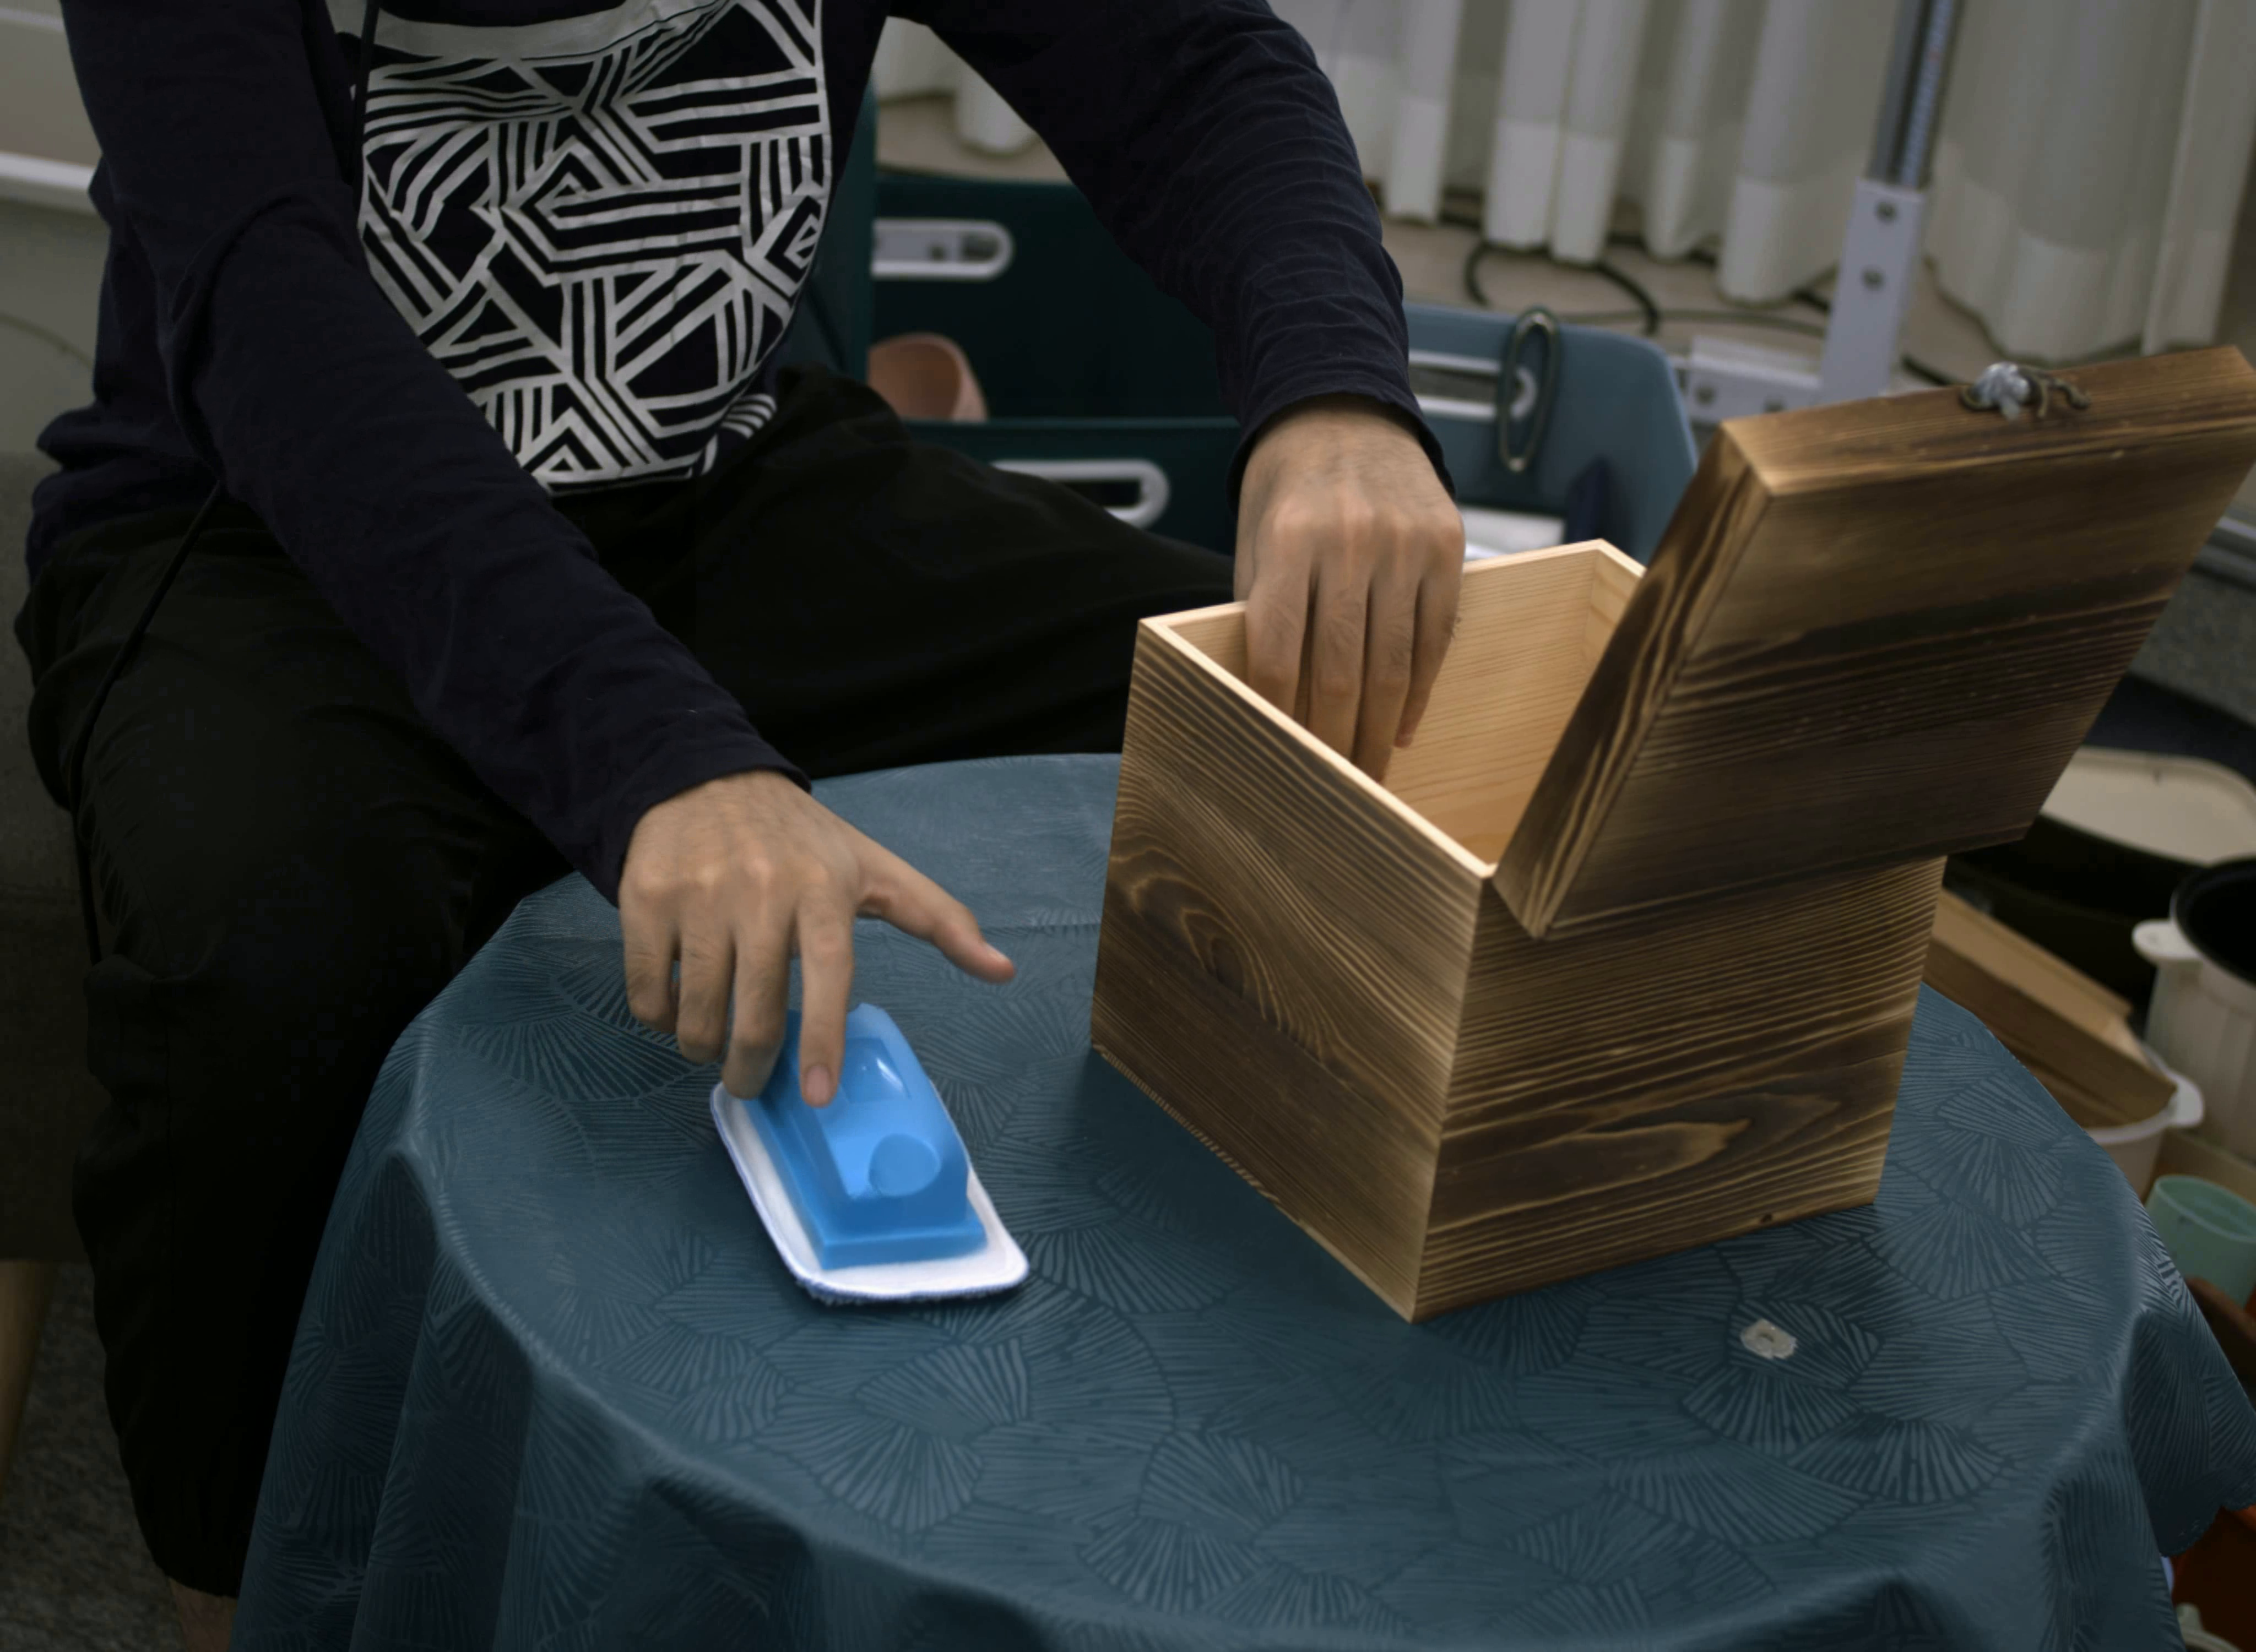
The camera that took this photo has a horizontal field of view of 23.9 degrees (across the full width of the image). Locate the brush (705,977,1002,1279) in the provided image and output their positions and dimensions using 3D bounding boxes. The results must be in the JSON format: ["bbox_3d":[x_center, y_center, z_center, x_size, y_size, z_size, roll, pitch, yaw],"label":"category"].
[{"bbox_3d":[-0.089,0.096,1.775,0.083,0.056,0.145,1,29,-17],"label":"brush"}]

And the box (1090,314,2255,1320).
[{"bbox_3d":[0.171,-0.034,1.756,0.207,0.374,0.325,-11,31,-32],"label":"box"}]
